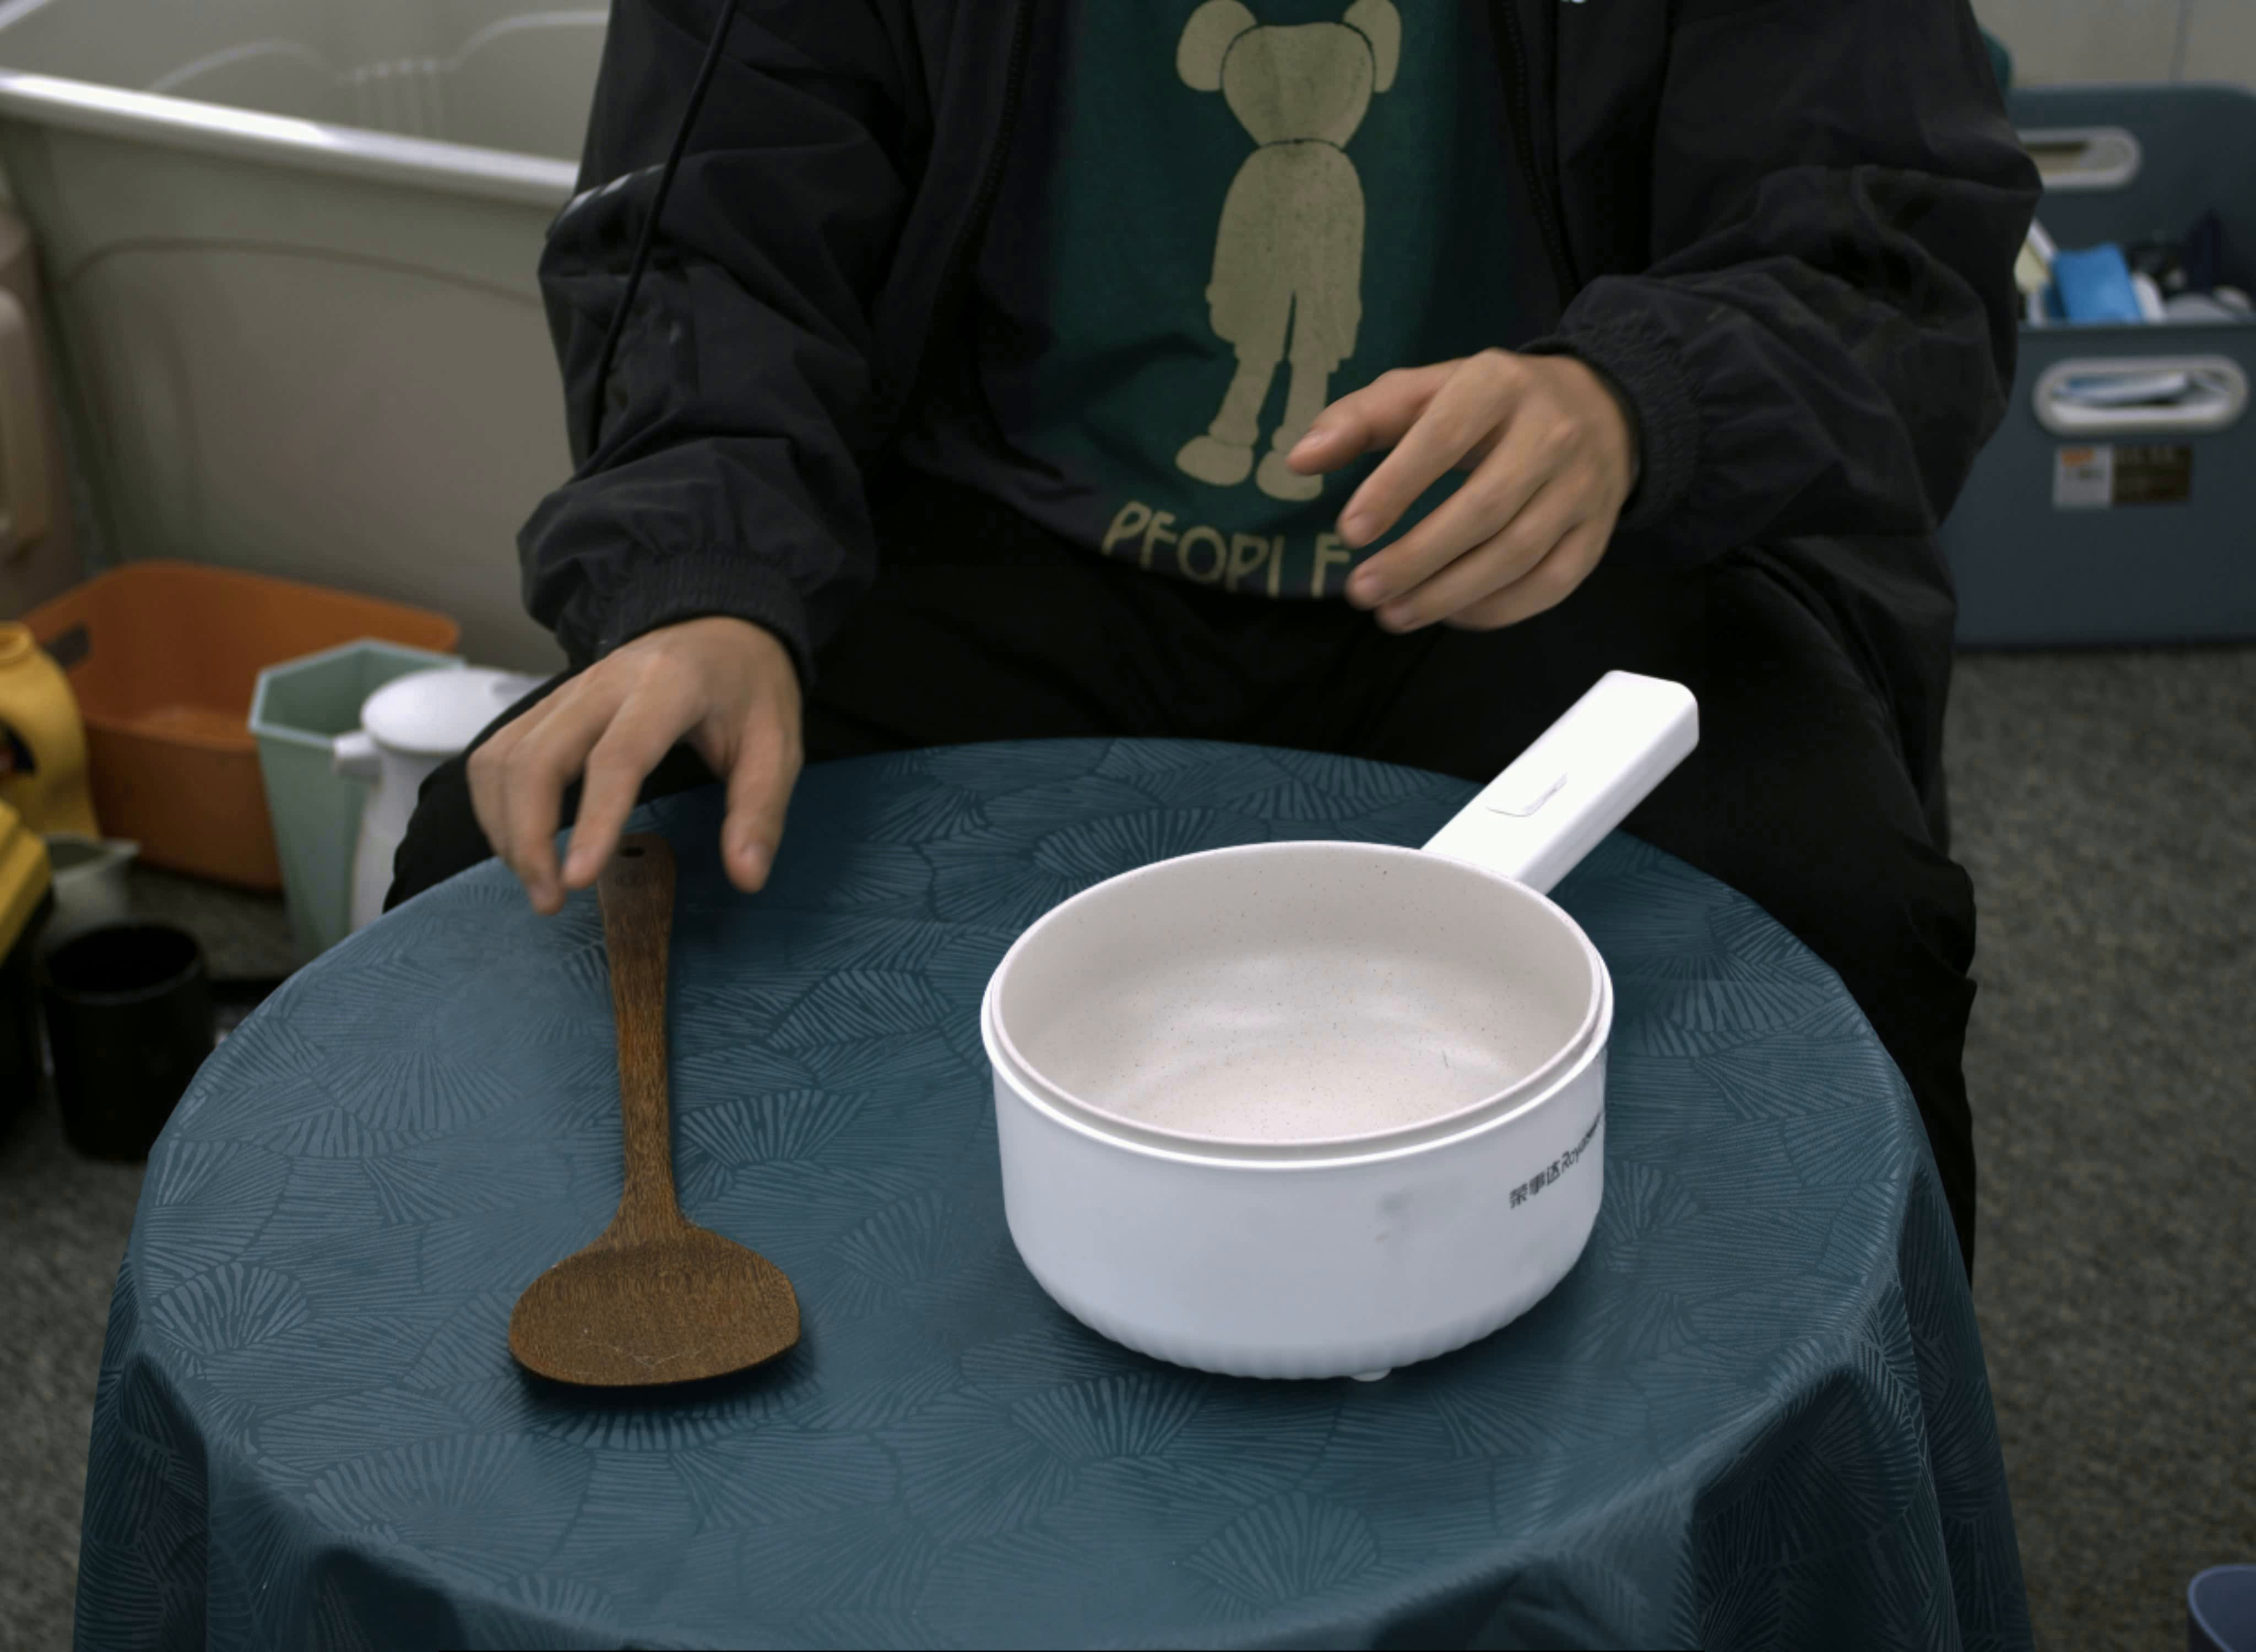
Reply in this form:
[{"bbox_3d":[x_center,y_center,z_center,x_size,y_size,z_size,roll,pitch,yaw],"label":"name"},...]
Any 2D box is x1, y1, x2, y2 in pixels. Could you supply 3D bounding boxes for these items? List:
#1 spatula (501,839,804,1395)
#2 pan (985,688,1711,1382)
[{"bbox_3d":[-0.166,0.091,1.919,0.096,0.015,0.391,-5,27,-4],"label":"spatula"},{"bbox_3d":[0.096,0.065,1.857,0.200,0.101,0.360,12,29,29],"label":"pan"}]
